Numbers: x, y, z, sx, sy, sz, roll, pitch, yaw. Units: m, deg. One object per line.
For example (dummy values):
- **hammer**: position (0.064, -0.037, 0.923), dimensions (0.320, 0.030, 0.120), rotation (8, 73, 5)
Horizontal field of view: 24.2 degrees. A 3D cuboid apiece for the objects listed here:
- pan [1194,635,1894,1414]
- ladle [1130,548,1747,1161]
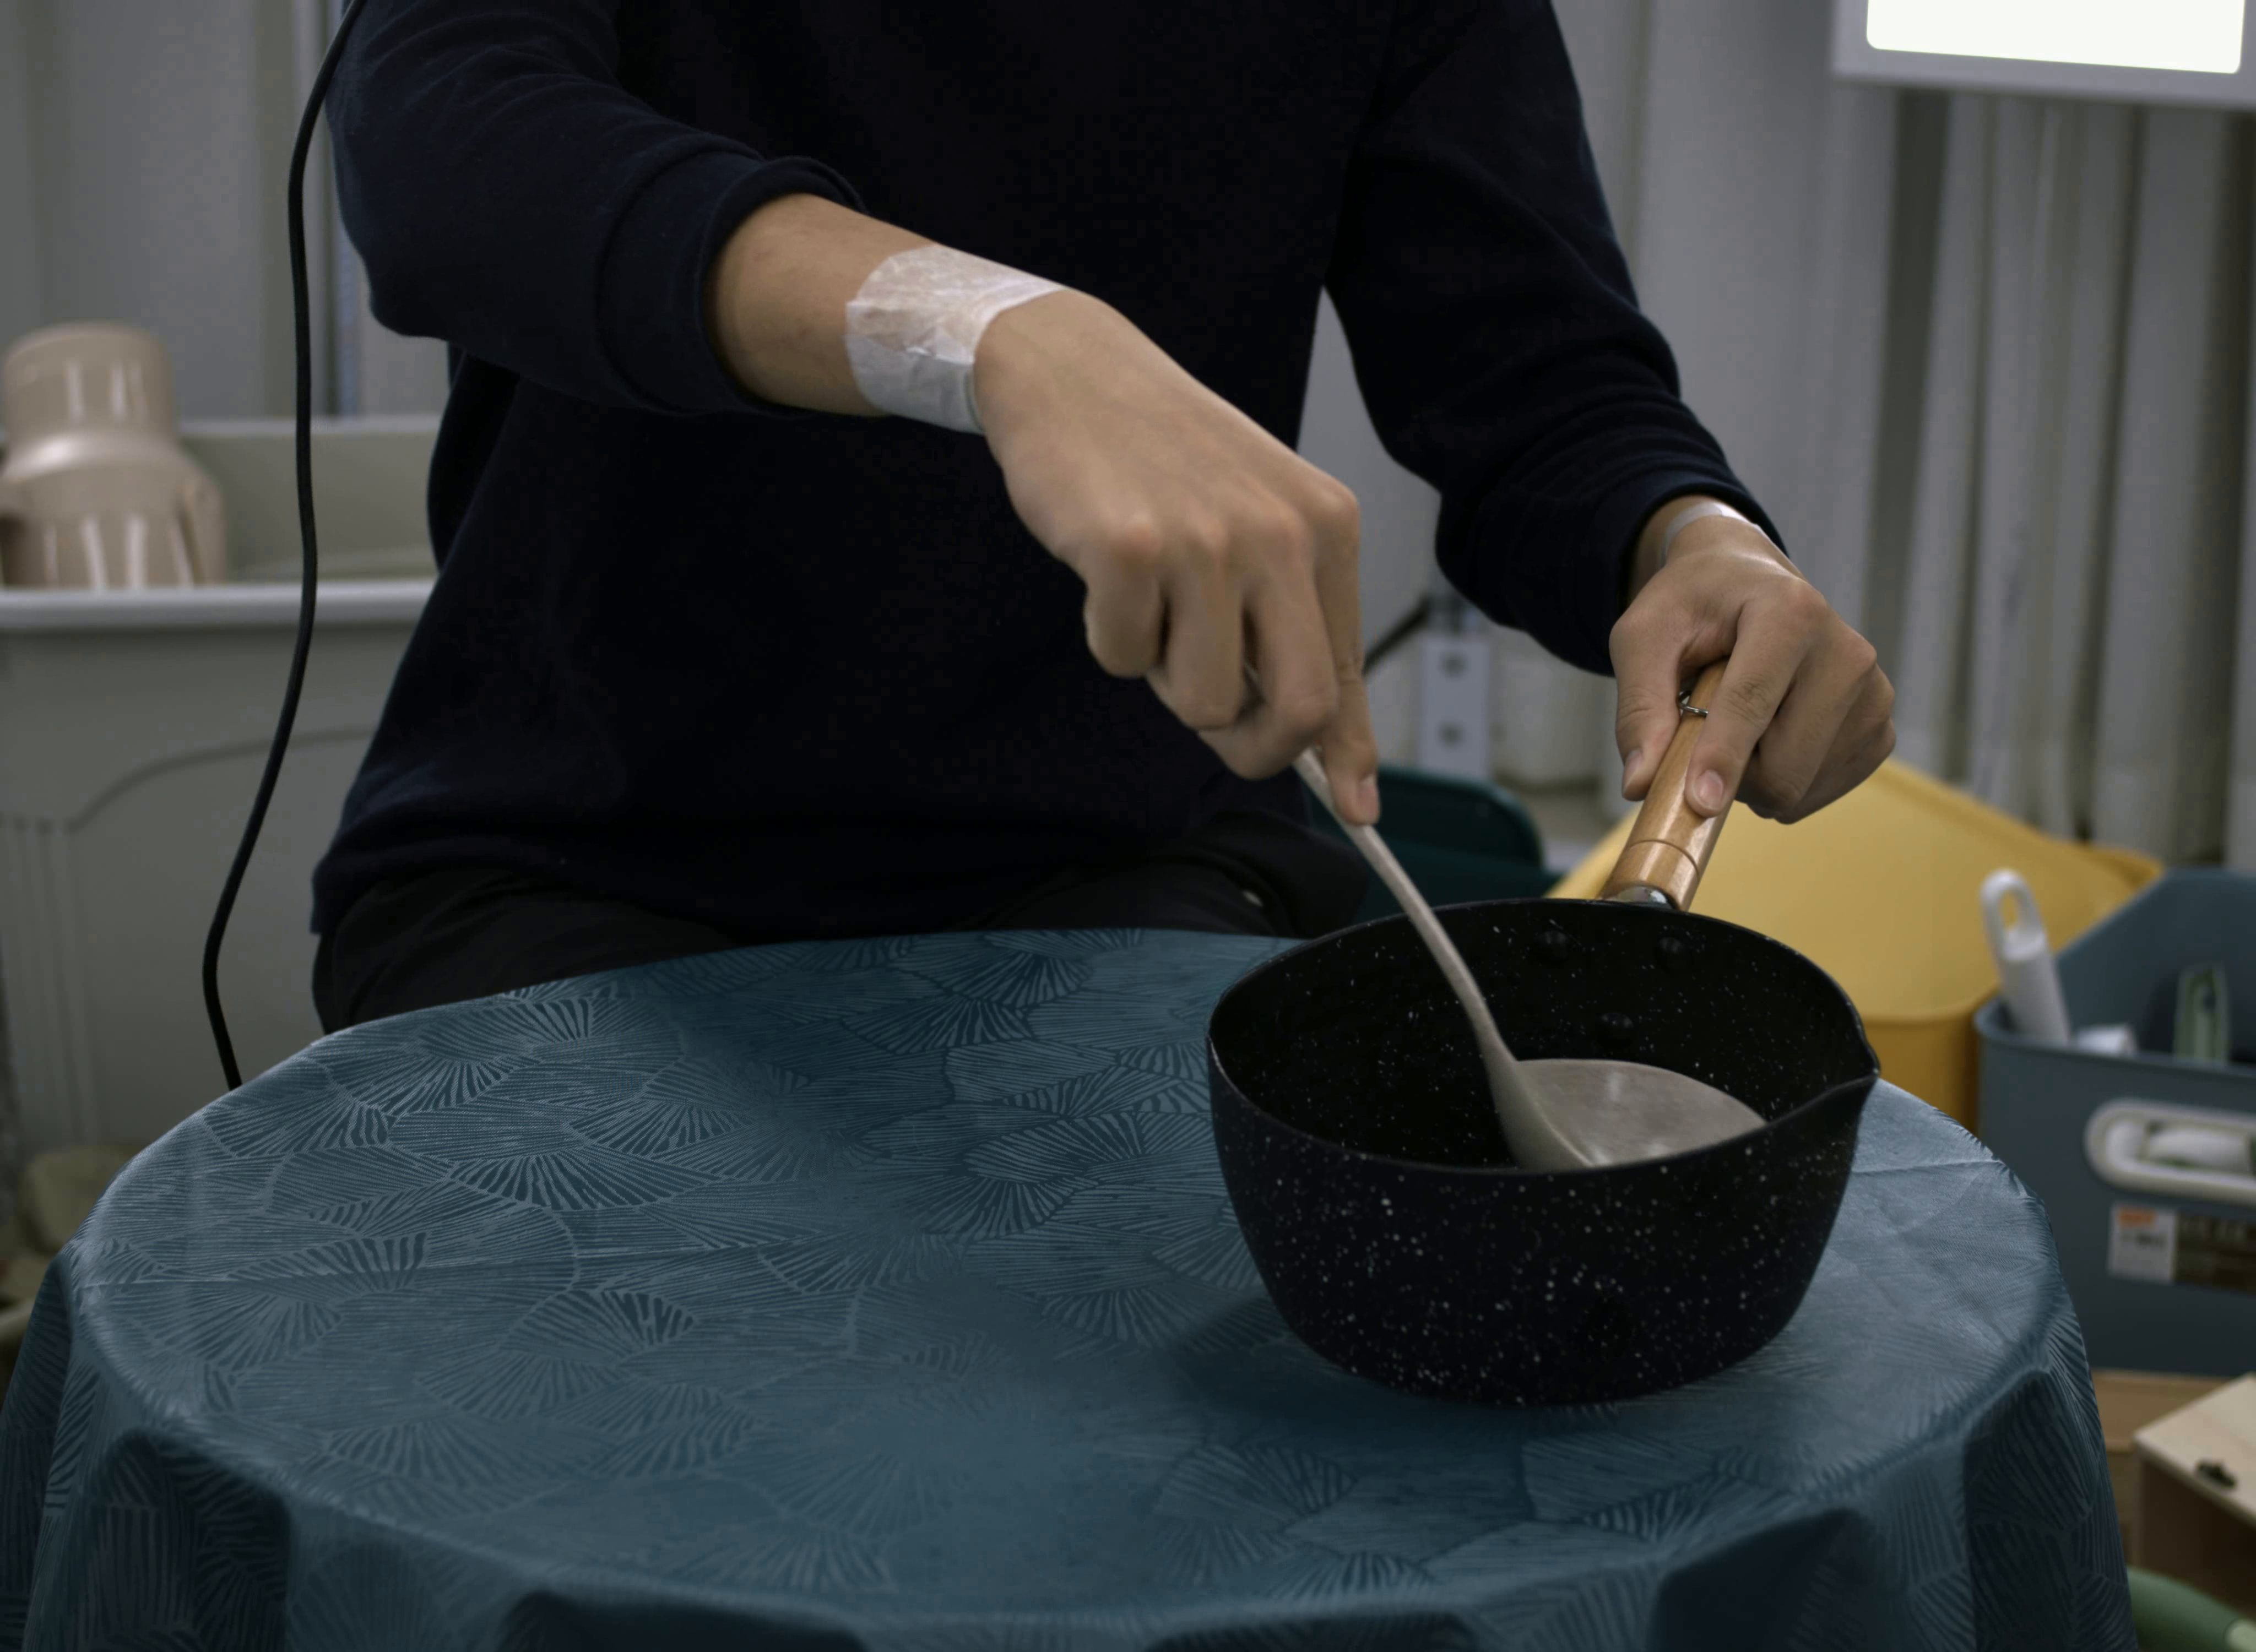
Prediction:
- **pan**: position (0.141, 0.054, 1.565), dimensions (0.205, 0.109, 0.342), rotation (4, 25, 18)
- **ladle**: position (0.097, 0.012, 1.473), dimensions (0.069, 0.278, 0.088), rotation (-29, 29, 8)
